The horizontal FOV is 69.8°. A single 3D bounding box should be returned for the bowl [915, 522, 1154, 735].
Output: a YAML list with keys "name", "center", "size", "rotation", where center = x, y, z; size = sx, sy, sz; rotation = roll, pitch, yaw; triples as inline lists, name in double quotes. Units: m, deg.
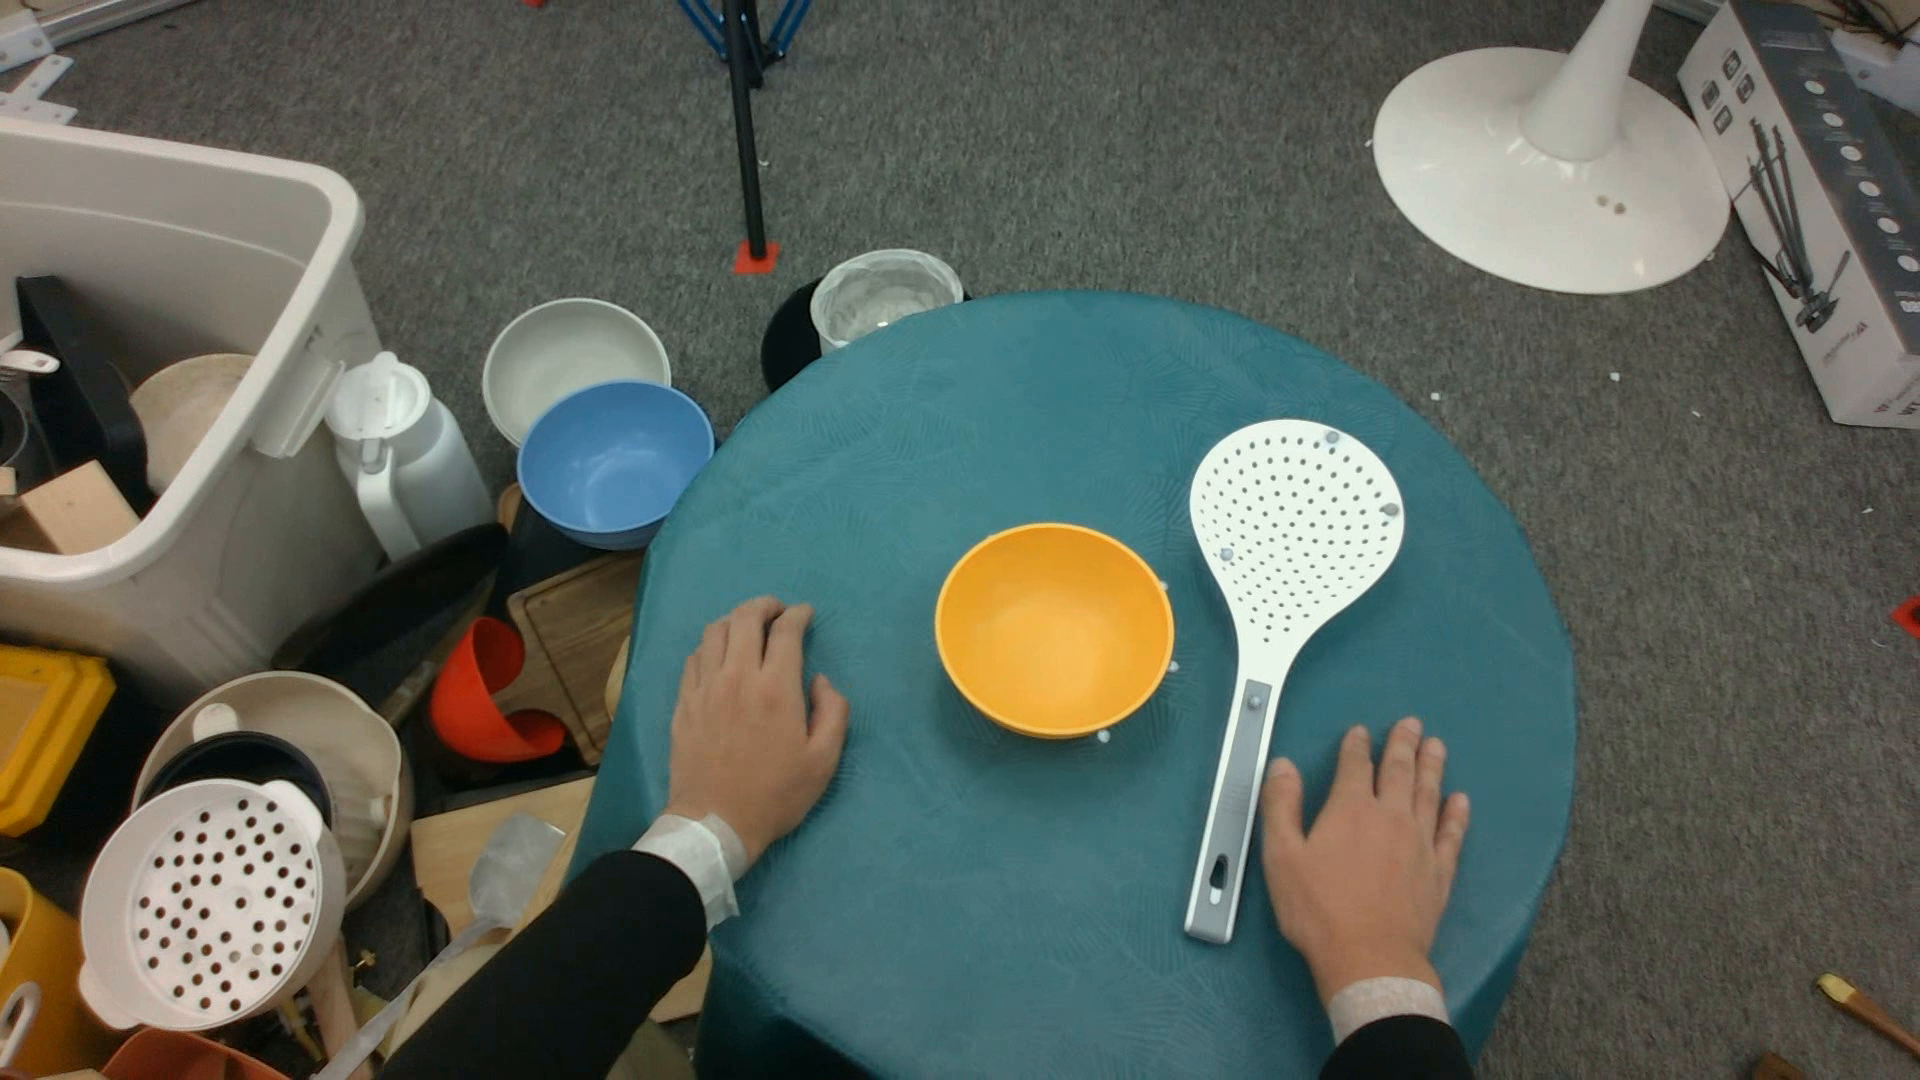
- name: "bowl"
  center: [0.044, 0.064, 0.846]
  size: [0.145, 0.060, 0.146]
  rotation: [1, 56, -1]

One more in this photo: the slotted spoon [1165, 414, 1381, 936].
- name: "slotted spoon"
  center: [0.176, 0.071, 0.854]
  size: [0.136, 0.045, 0.351]
  rotation: [14, 59, 7]
